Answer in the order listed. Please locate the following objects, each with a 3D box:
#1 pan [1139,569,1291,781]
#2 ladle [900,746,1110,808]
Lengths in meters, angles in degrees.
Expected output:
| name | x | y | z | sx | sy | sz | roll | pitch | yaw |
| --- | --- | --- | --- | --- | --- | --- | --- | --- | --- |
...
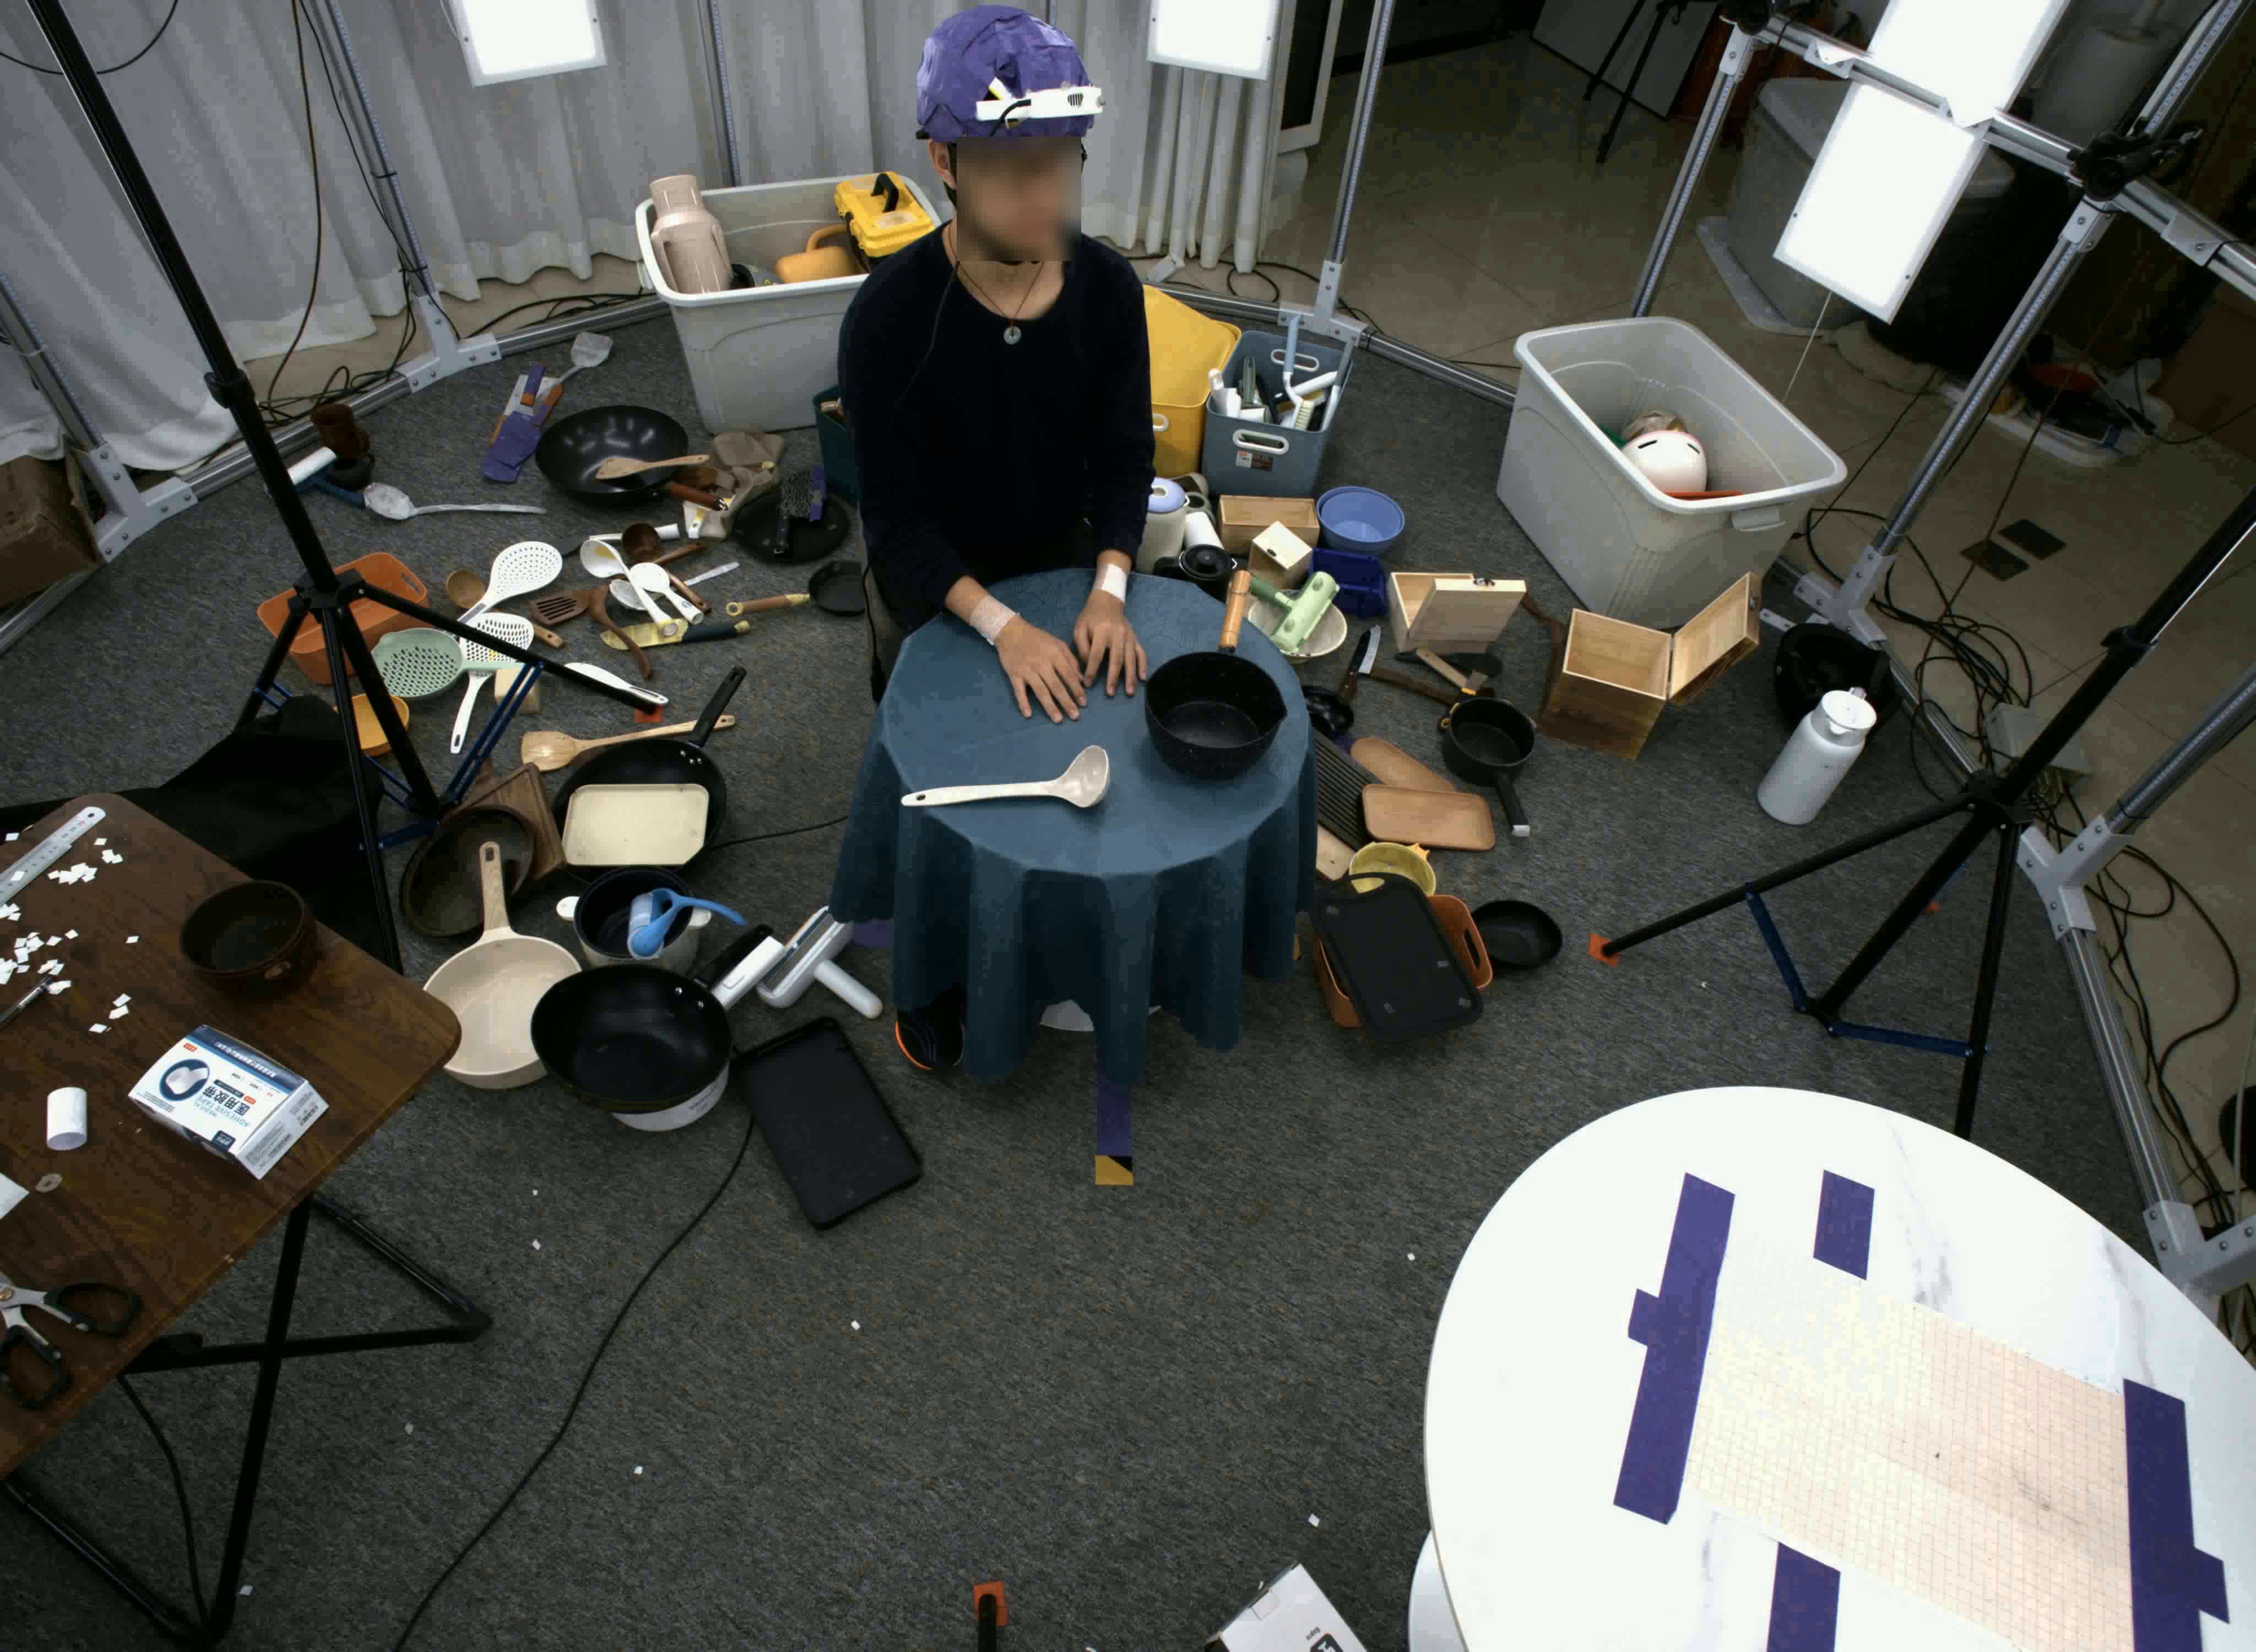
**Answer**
| name | x | y | z | sx | sy | sz | roll | pitch | yaw |
| --- | --- | --- | --- | --- | --- | --- | --- | --- | --- |
| pan | 0.129 | -0.213 | 1.792 | 0.208 | 0.105 | 0.351 | 9 | 51 | 6 |
| ladle | -0.160 | -0.057 | 1.668 | 0.274 | 0.068 | 0.091 | -3 | 58 | -4 |
